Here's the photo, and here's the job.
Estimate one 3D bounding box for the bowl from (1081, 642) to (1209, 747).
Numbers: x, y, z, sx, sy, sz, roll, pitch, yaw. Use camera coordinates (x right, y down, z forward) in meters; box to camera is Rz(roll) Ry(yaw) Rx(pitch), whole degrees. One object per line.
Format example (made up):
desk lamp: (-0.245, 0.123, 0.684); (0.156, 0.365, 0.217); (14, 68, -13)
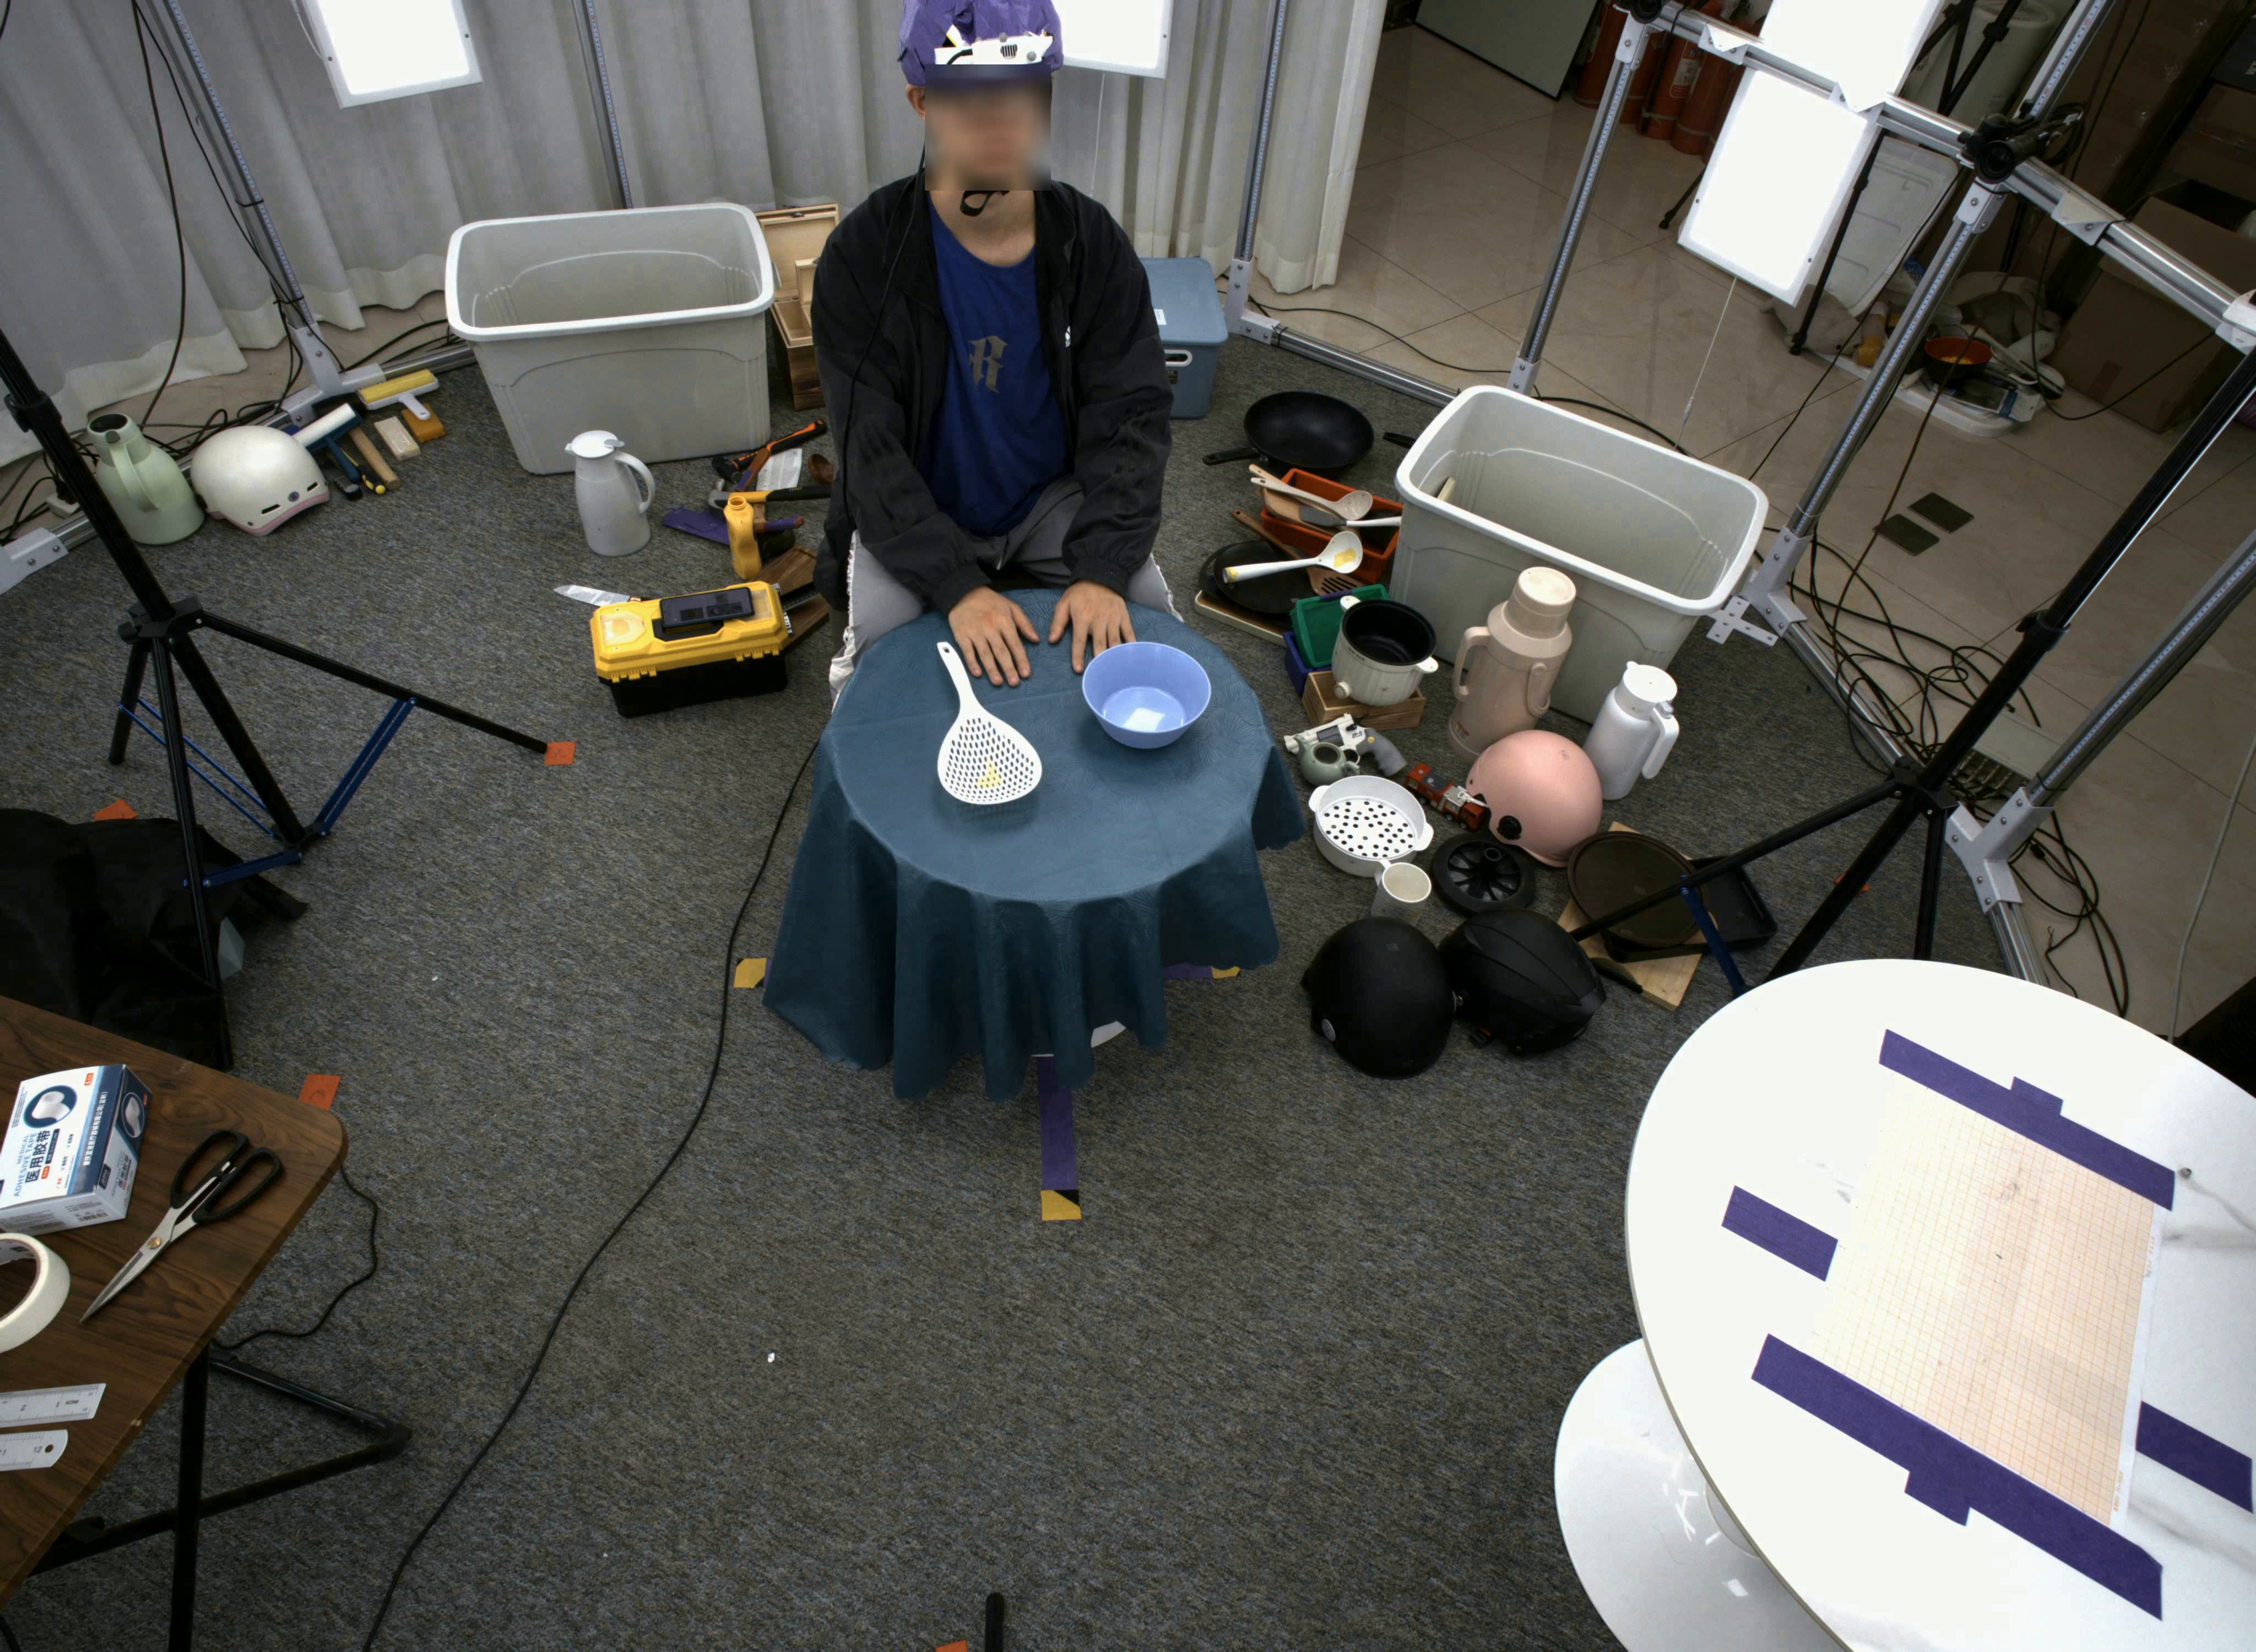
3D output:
bowl: (0.022, -0.174, 1.778); (0.176, 0.068, 0.180); (2, 49, -3)

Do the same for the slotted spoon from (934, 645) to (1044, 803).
slotted spoon: (-0.214, -0.150, 1.762); (0.137, 0.049, 0.356); (-14, 52, -11)
